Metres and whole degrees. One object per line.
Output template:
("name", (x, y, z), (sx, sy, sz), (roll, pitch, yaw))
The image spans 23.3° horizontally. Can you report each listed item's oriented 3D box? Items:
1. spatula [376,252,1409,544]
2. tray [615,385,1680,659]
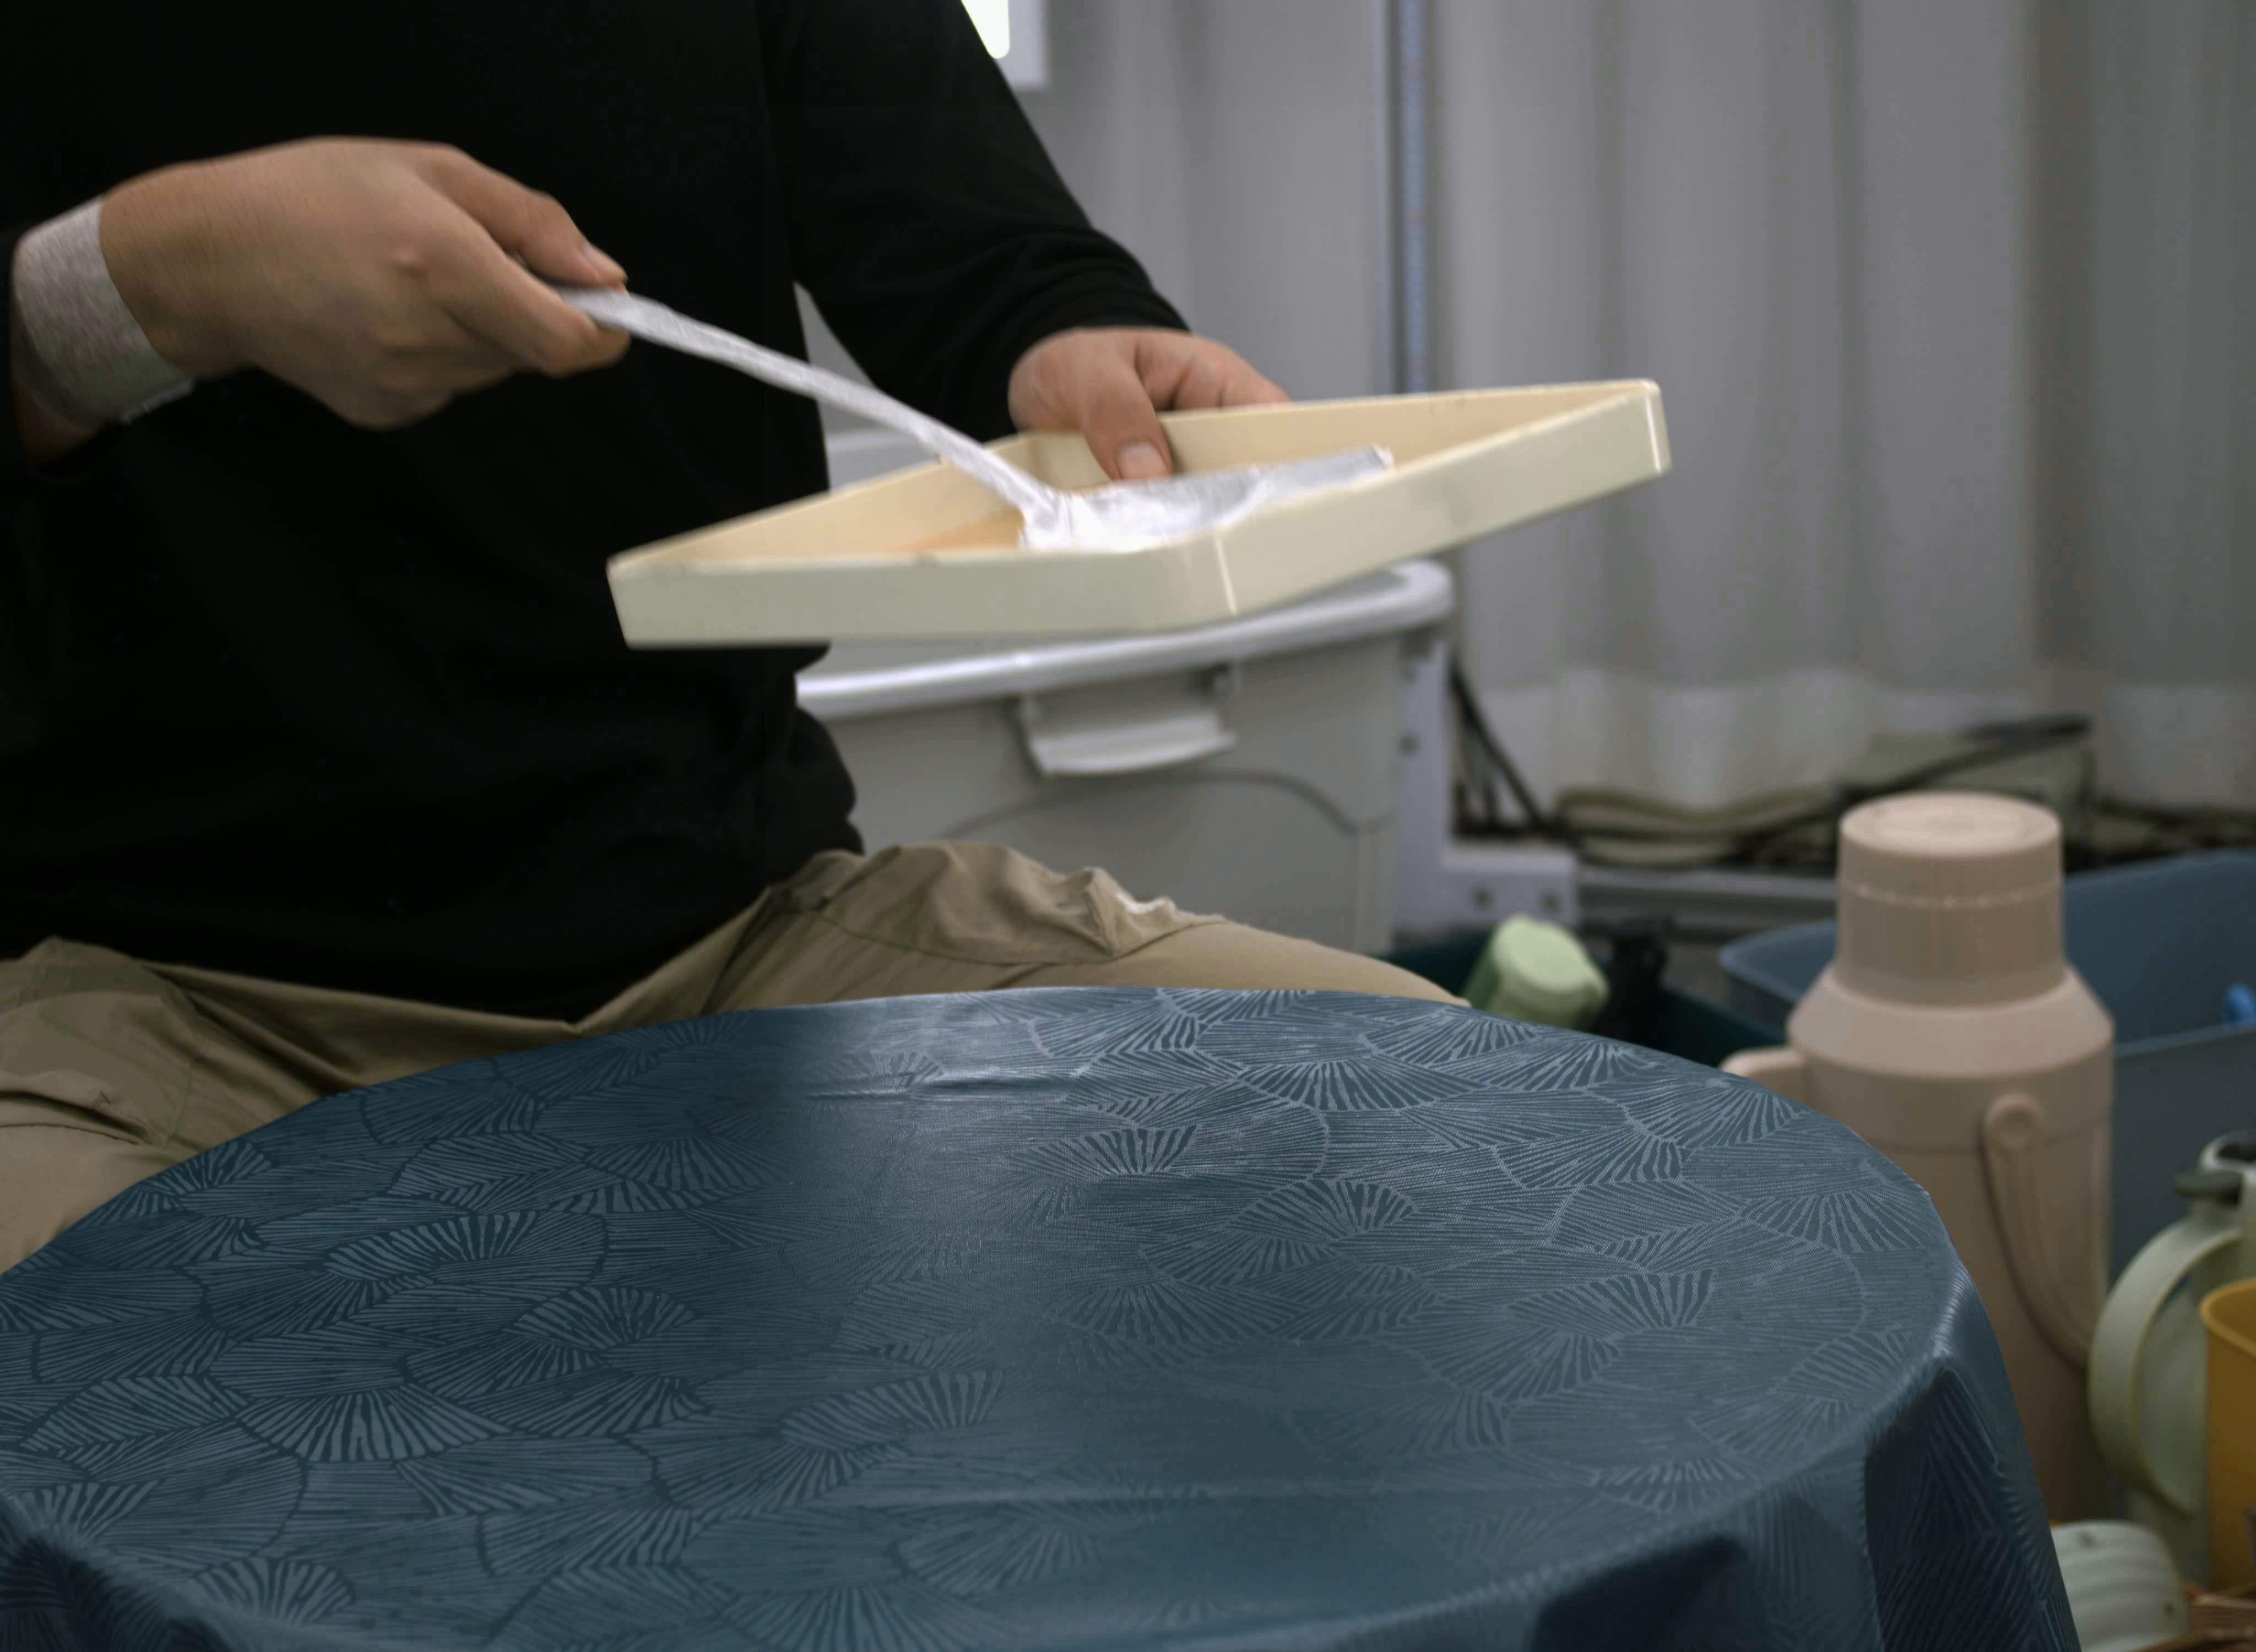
("spatula", (-0.088, -0.132, 1.630), (0.367, 0.044, 0.099), (22, 29, 27))
("tray", (0.000, -0.087, 1.607), (0.191, 0.027, 0.301), (-20, 12, -34))
